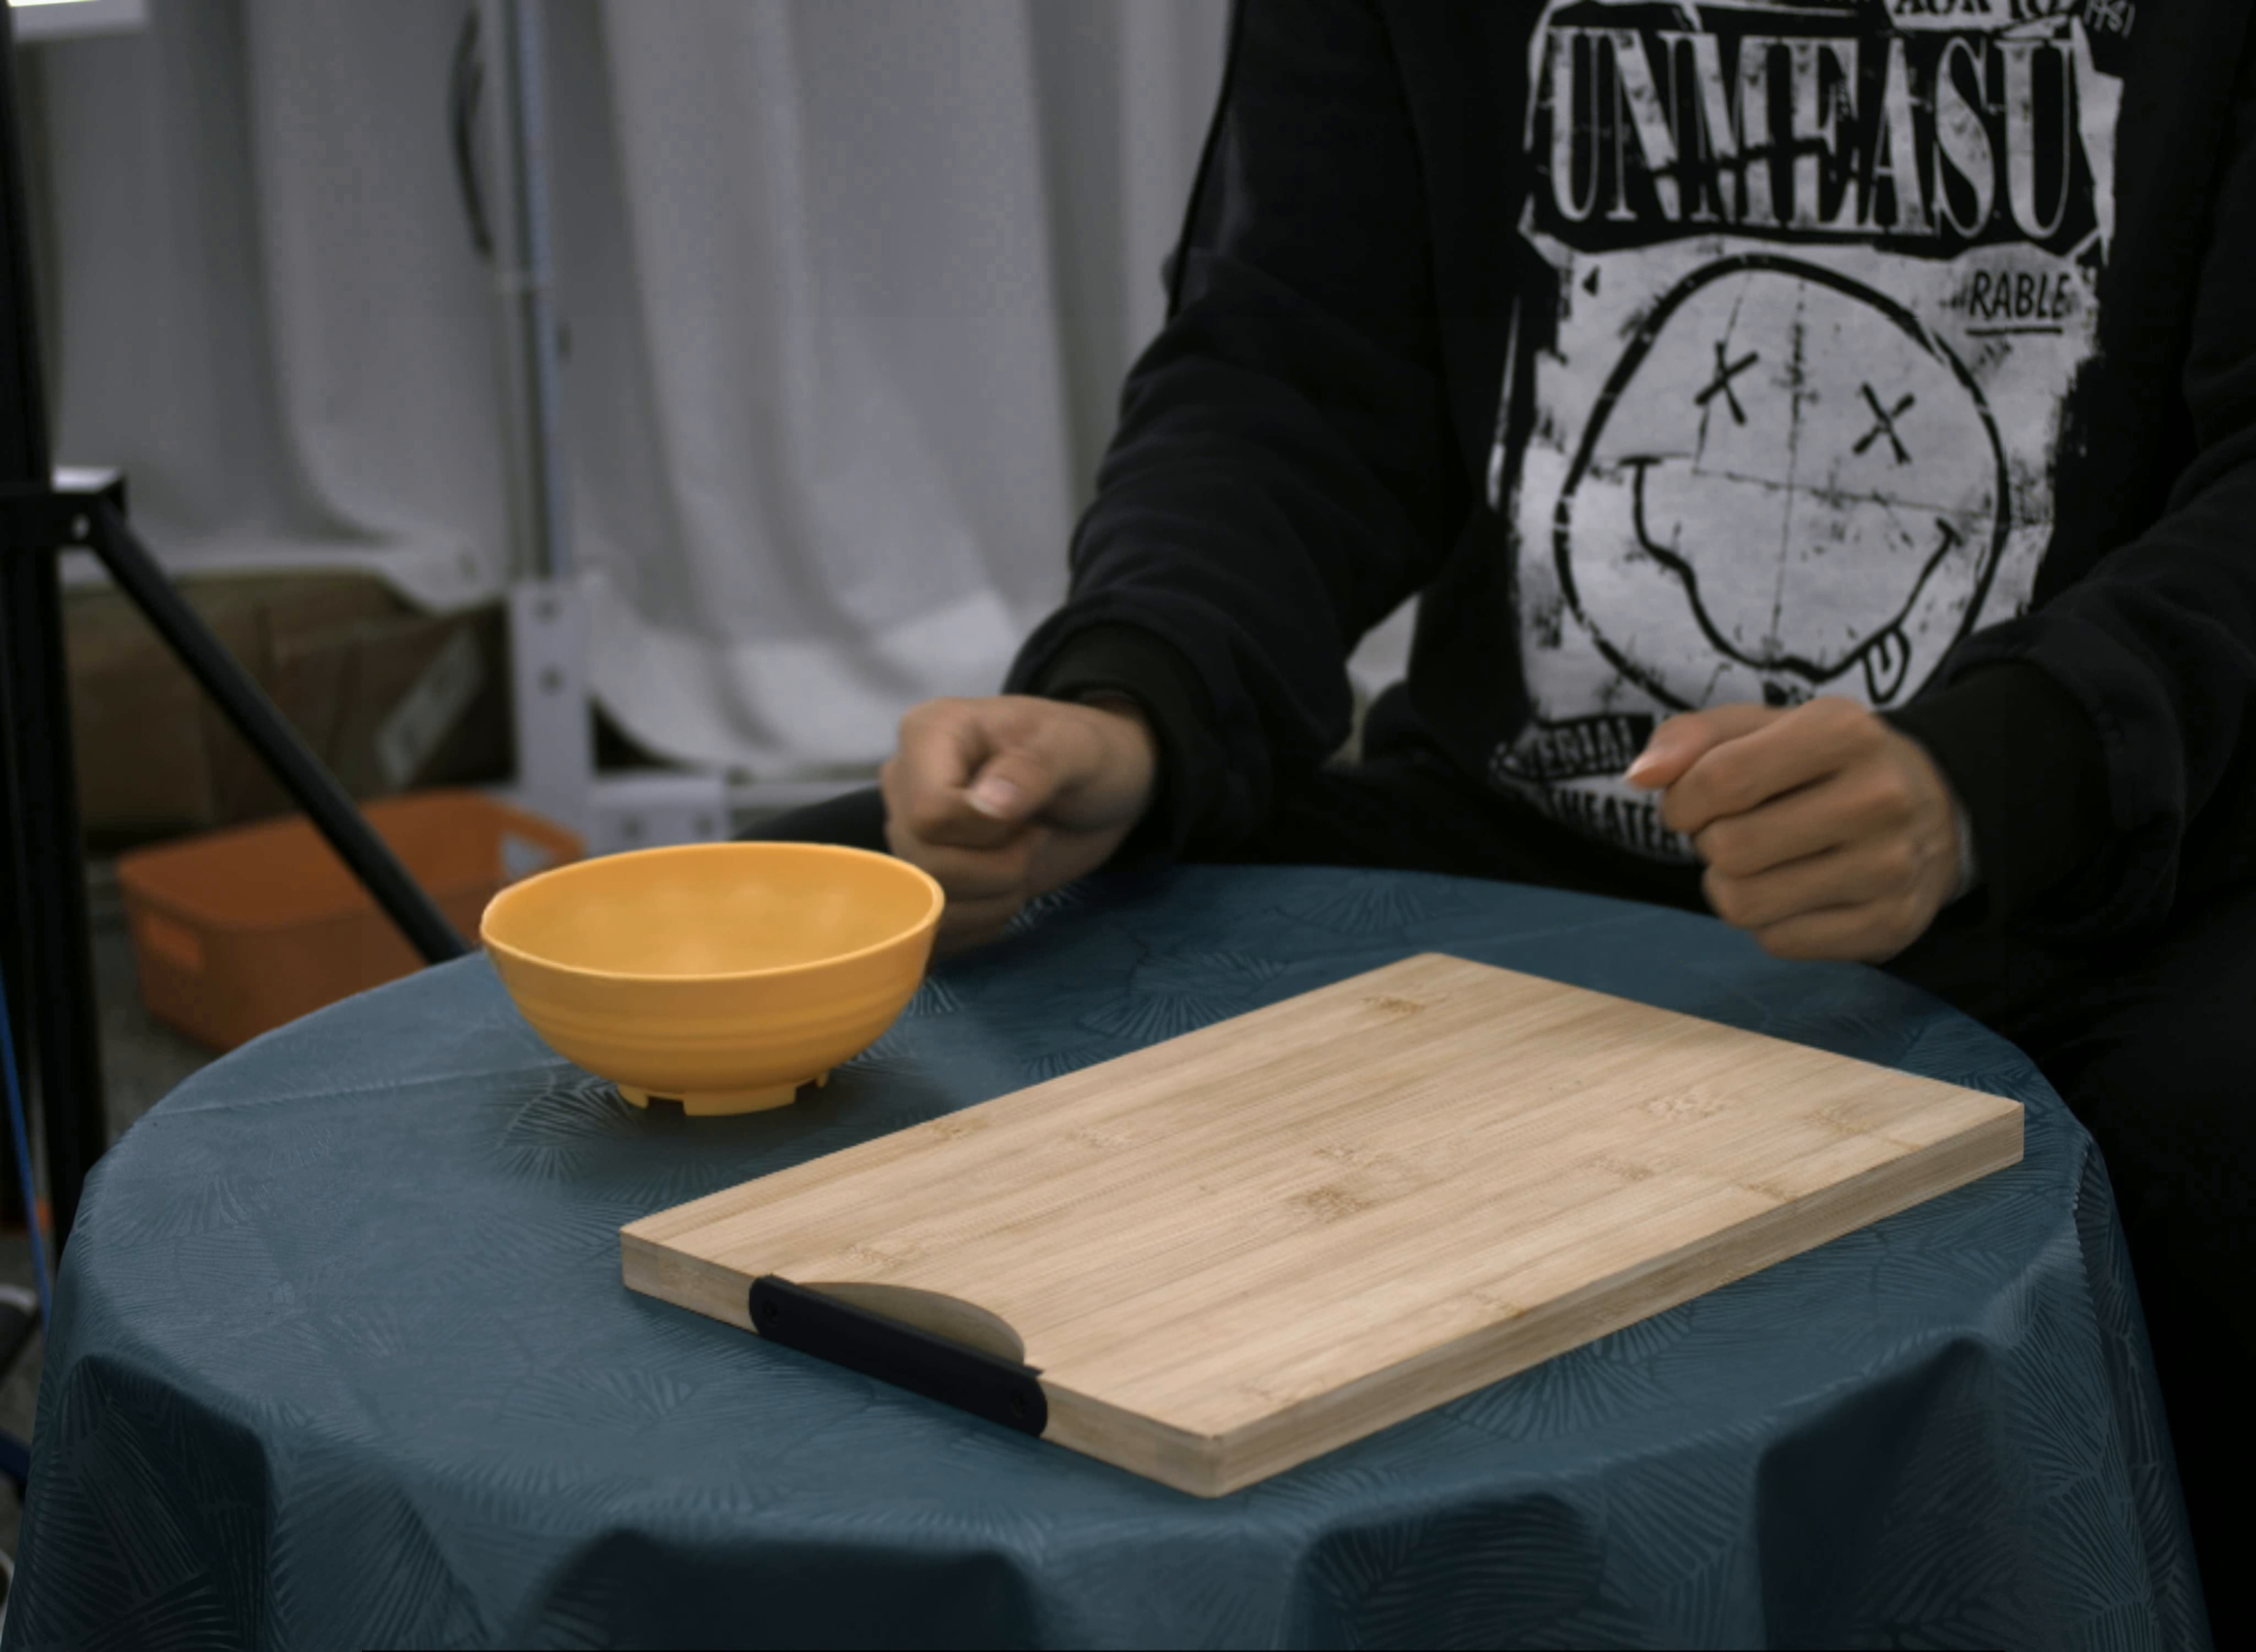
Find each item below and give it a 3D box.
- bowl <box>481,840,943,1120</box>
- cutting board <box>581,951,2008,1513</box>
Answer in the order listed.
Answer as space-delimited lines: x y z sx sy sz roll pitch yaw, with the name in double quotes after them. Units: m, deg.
-0.130 0.054 1.670 0.144 0.060 0.146 0 17 -1 "bowl"
0.054 0.108 1.521 0.341 0.023 0.256 -17 21 -41 "cutting board"
